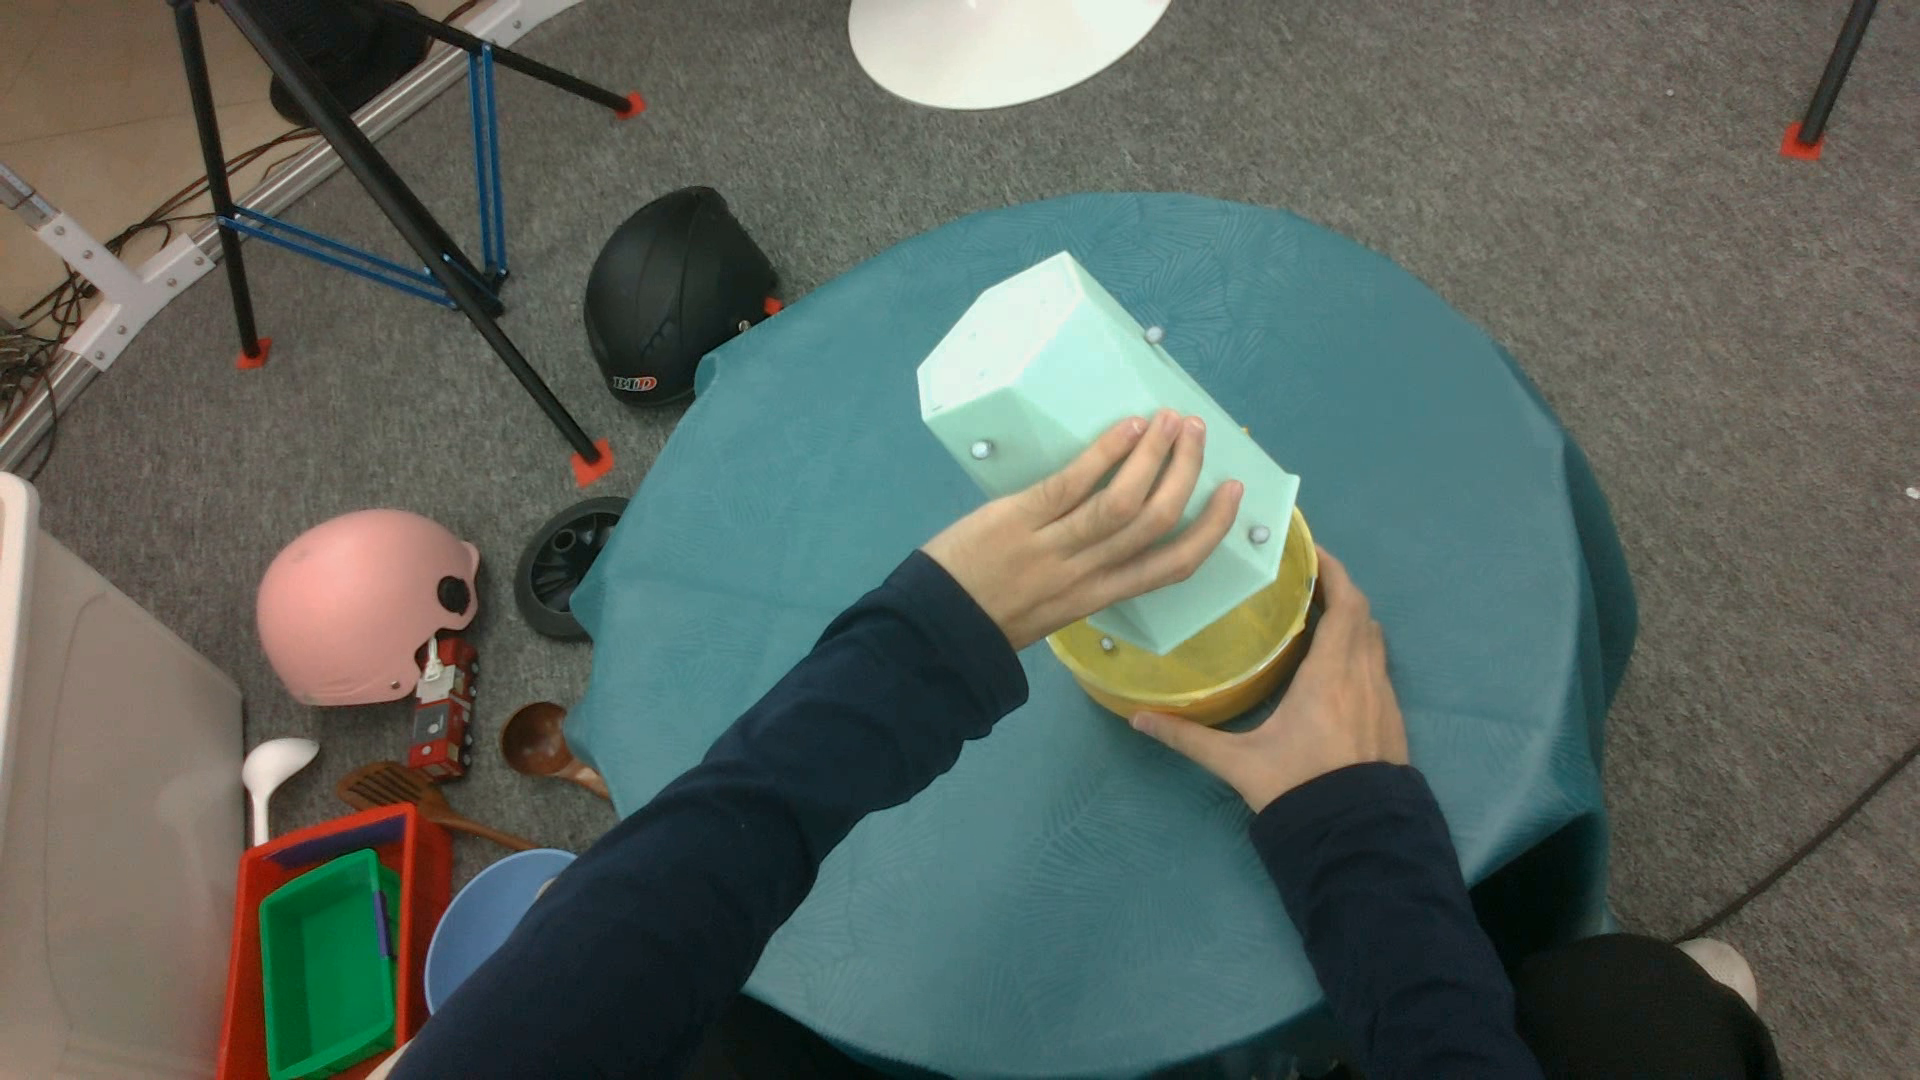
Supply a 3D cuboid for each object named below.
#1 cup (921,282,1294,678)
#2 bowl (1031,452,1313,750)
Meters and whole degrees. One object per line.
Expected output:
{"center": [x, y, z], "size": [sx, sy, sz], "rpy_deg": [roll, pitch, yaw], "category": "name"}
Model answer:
{"center": [0.068, -0.032, 0.673], "size": [0.115, 0.162, 0.131], "rpy_deg": [-48, 28, -9], "category": "cup"}
{"center": [0.126, 0.033, 0.783], "size": [0.153, 0.074, 0.180], "rpy_deg": [7, 64, 22], "category": "bowl"}
